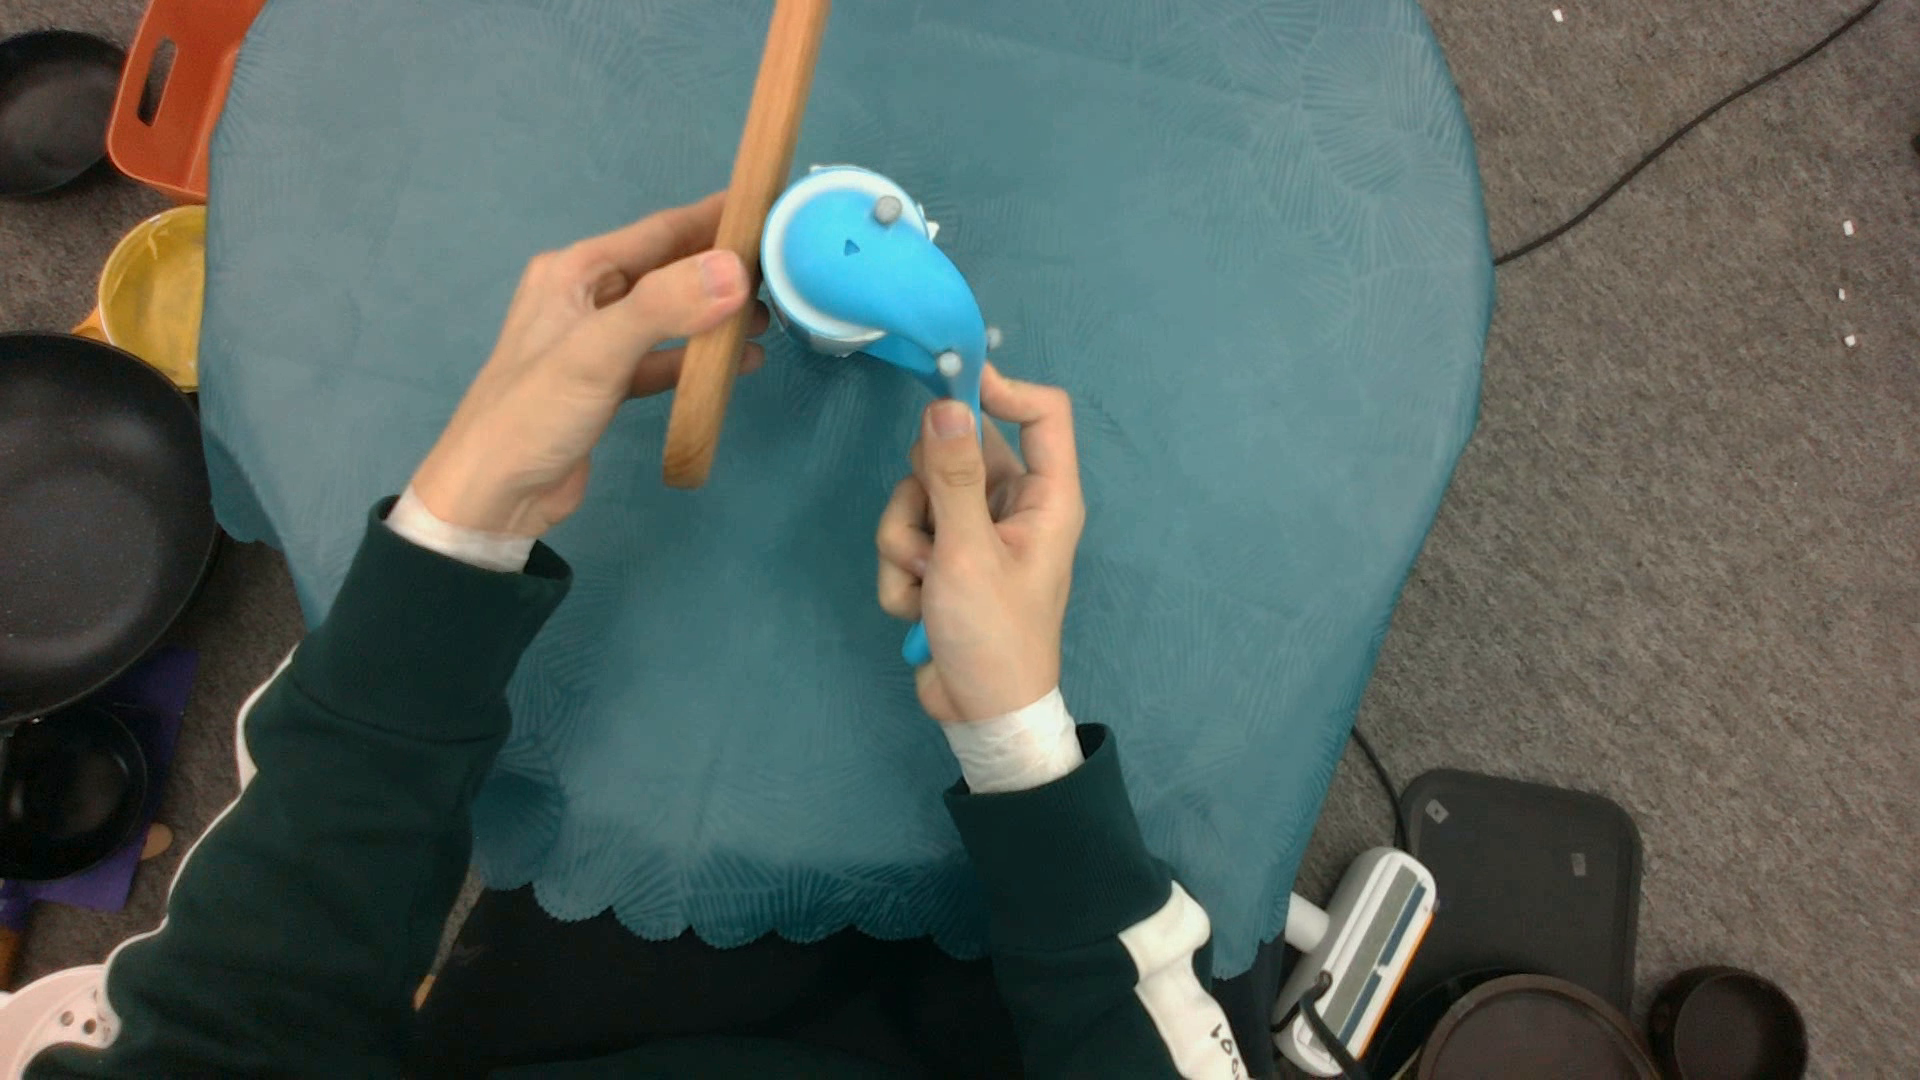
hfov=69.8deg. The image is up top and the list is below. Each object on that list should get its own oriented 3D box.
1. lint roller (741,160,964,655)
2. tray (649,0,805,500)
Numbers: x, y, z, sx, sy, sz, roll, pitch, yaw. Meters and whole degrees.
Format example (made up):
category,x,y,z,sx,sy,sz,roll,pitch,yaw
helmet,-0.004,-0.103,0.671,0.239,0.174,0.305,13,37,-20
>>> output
category,x,y,z,sx,sy,sz,roll,pitch,yaw
lint roller,-0.032,-0.049,0.534,0.068,0.229,0.180,-23,101,-6
tray,-0.080,-0.127,0.497,0.020,0.101,0.231,11,89,-9
